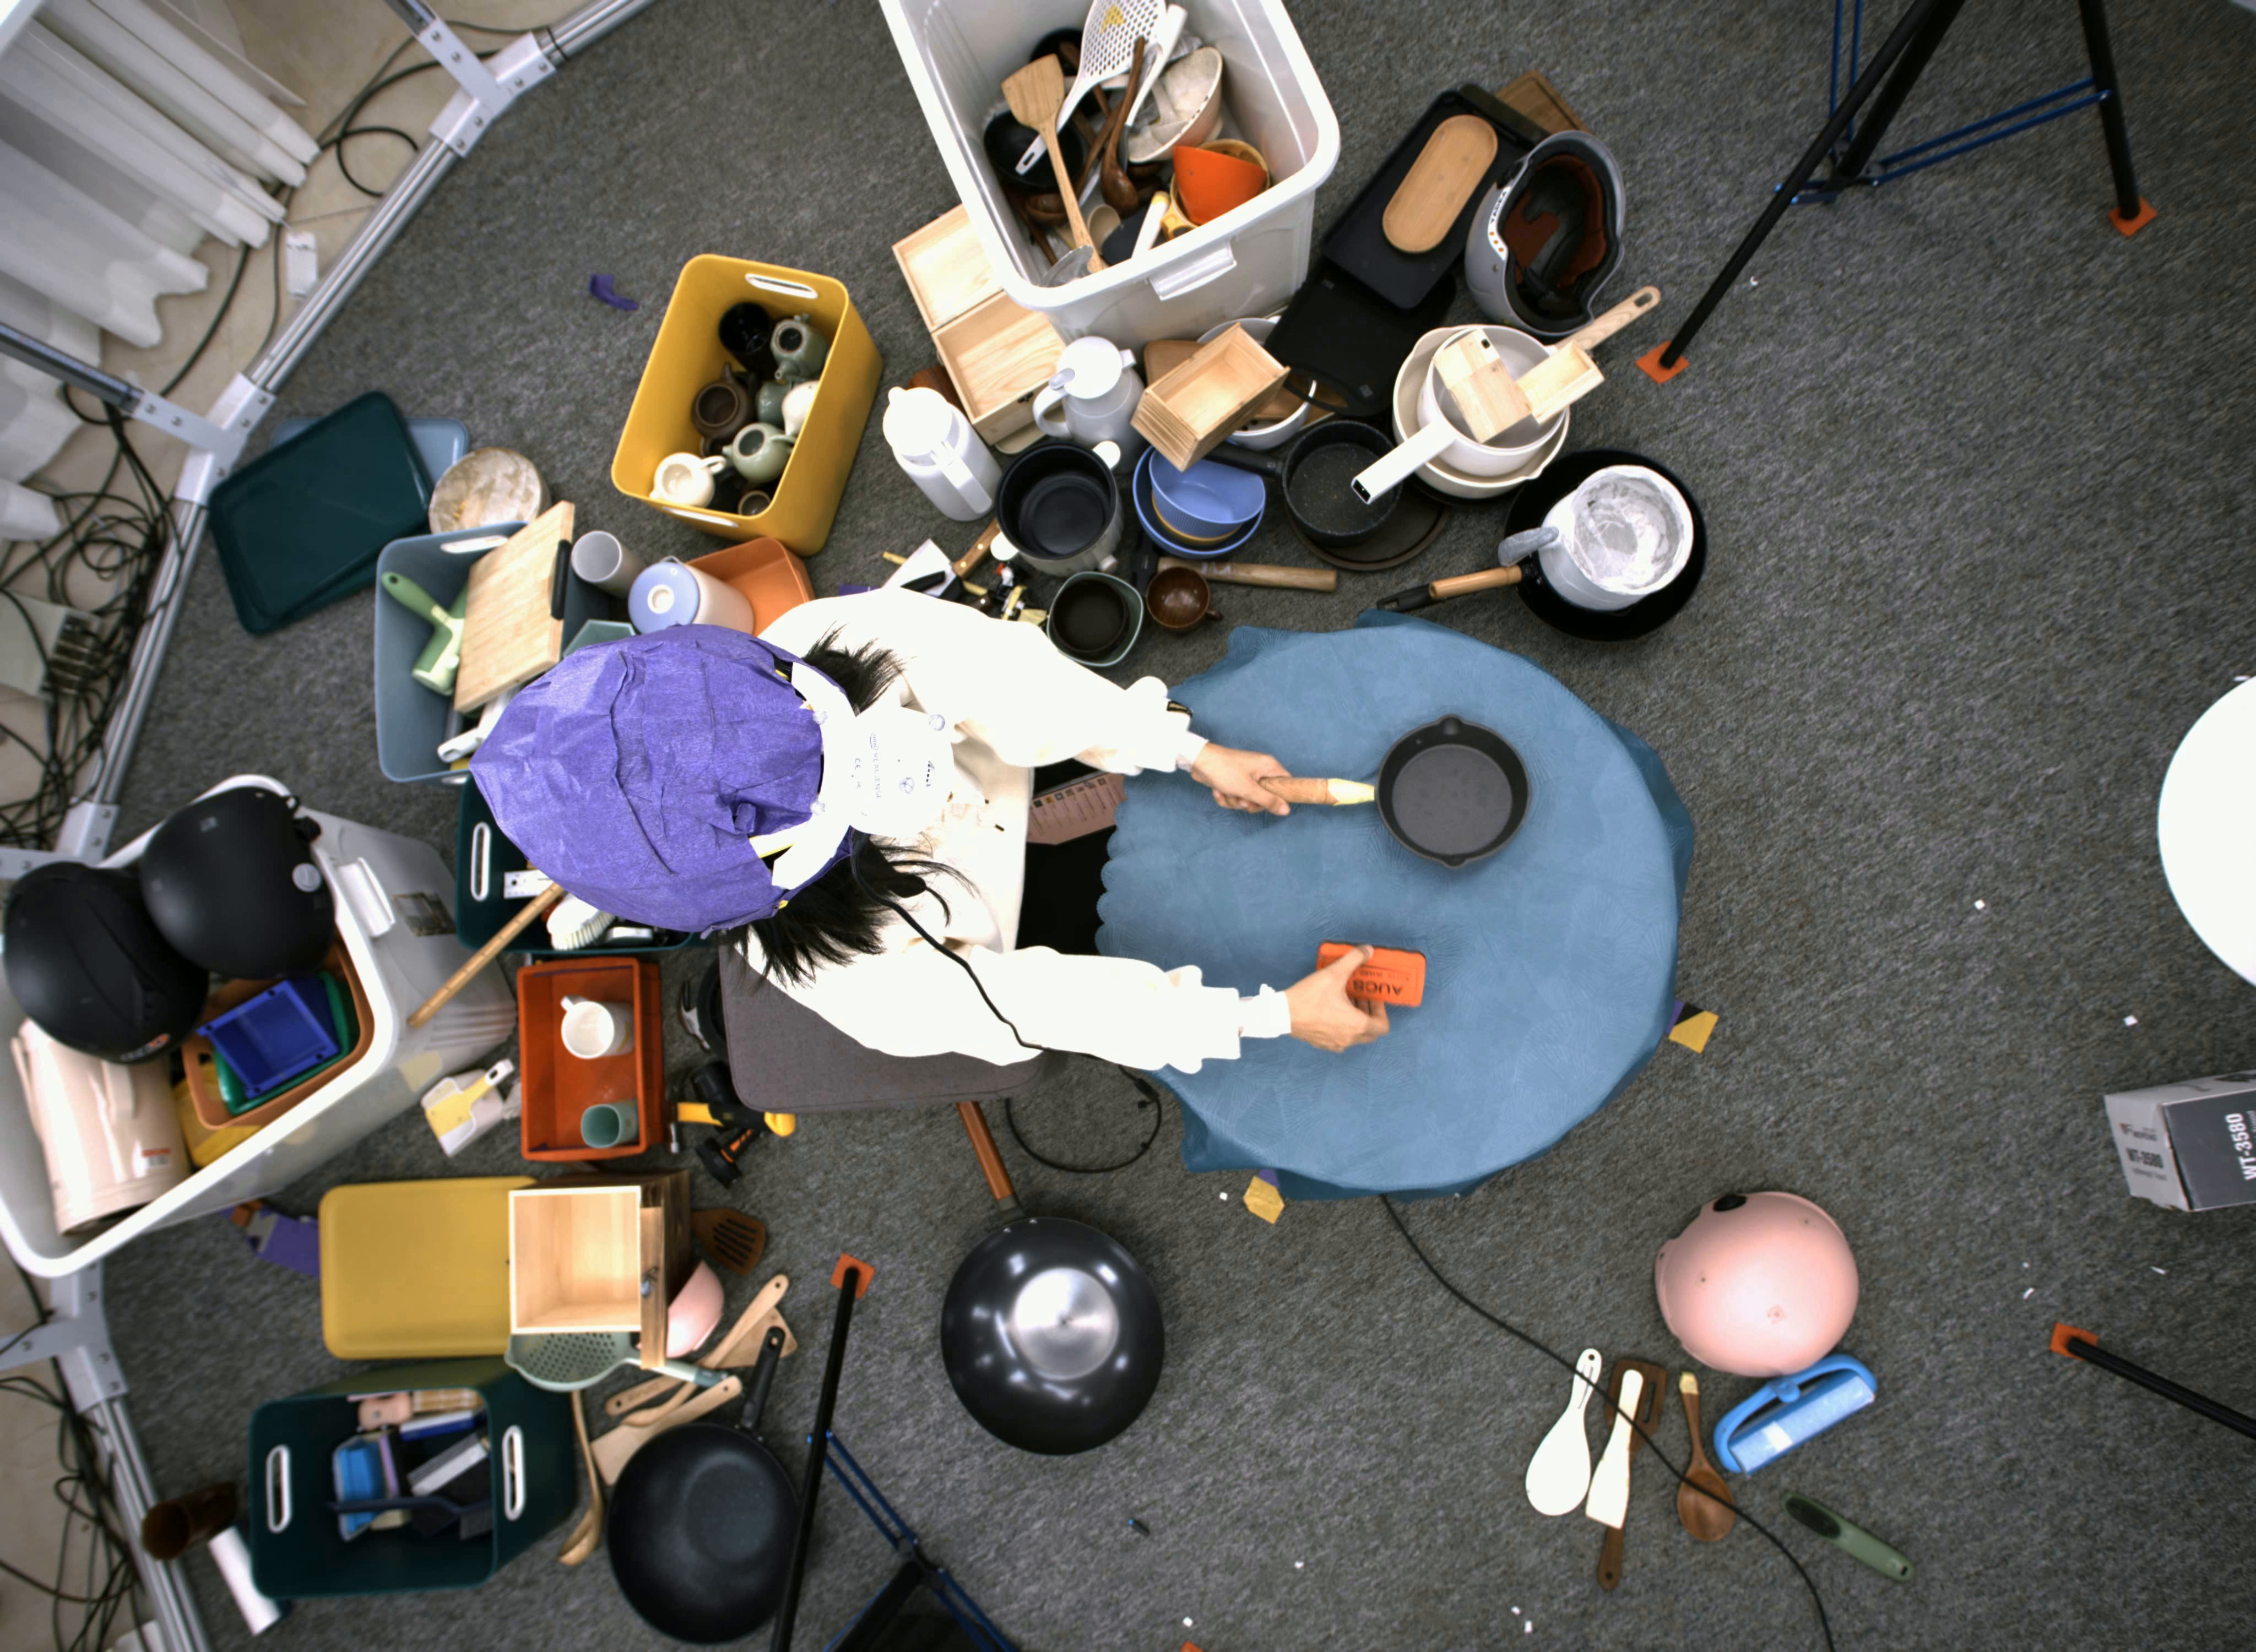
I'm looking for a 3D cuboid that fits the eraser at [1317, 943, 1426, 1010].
[{"bbox_3d":[0.248,0.153,1.410,0.108,0.022,0.060,6,125,16],"label":"eraser"}]

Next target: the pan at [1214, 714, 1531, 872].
[{"bbox_3d":[0.253,-0.037,1.435,0.325,0.050,0.167,2,78,10],"label":"pan"}]
